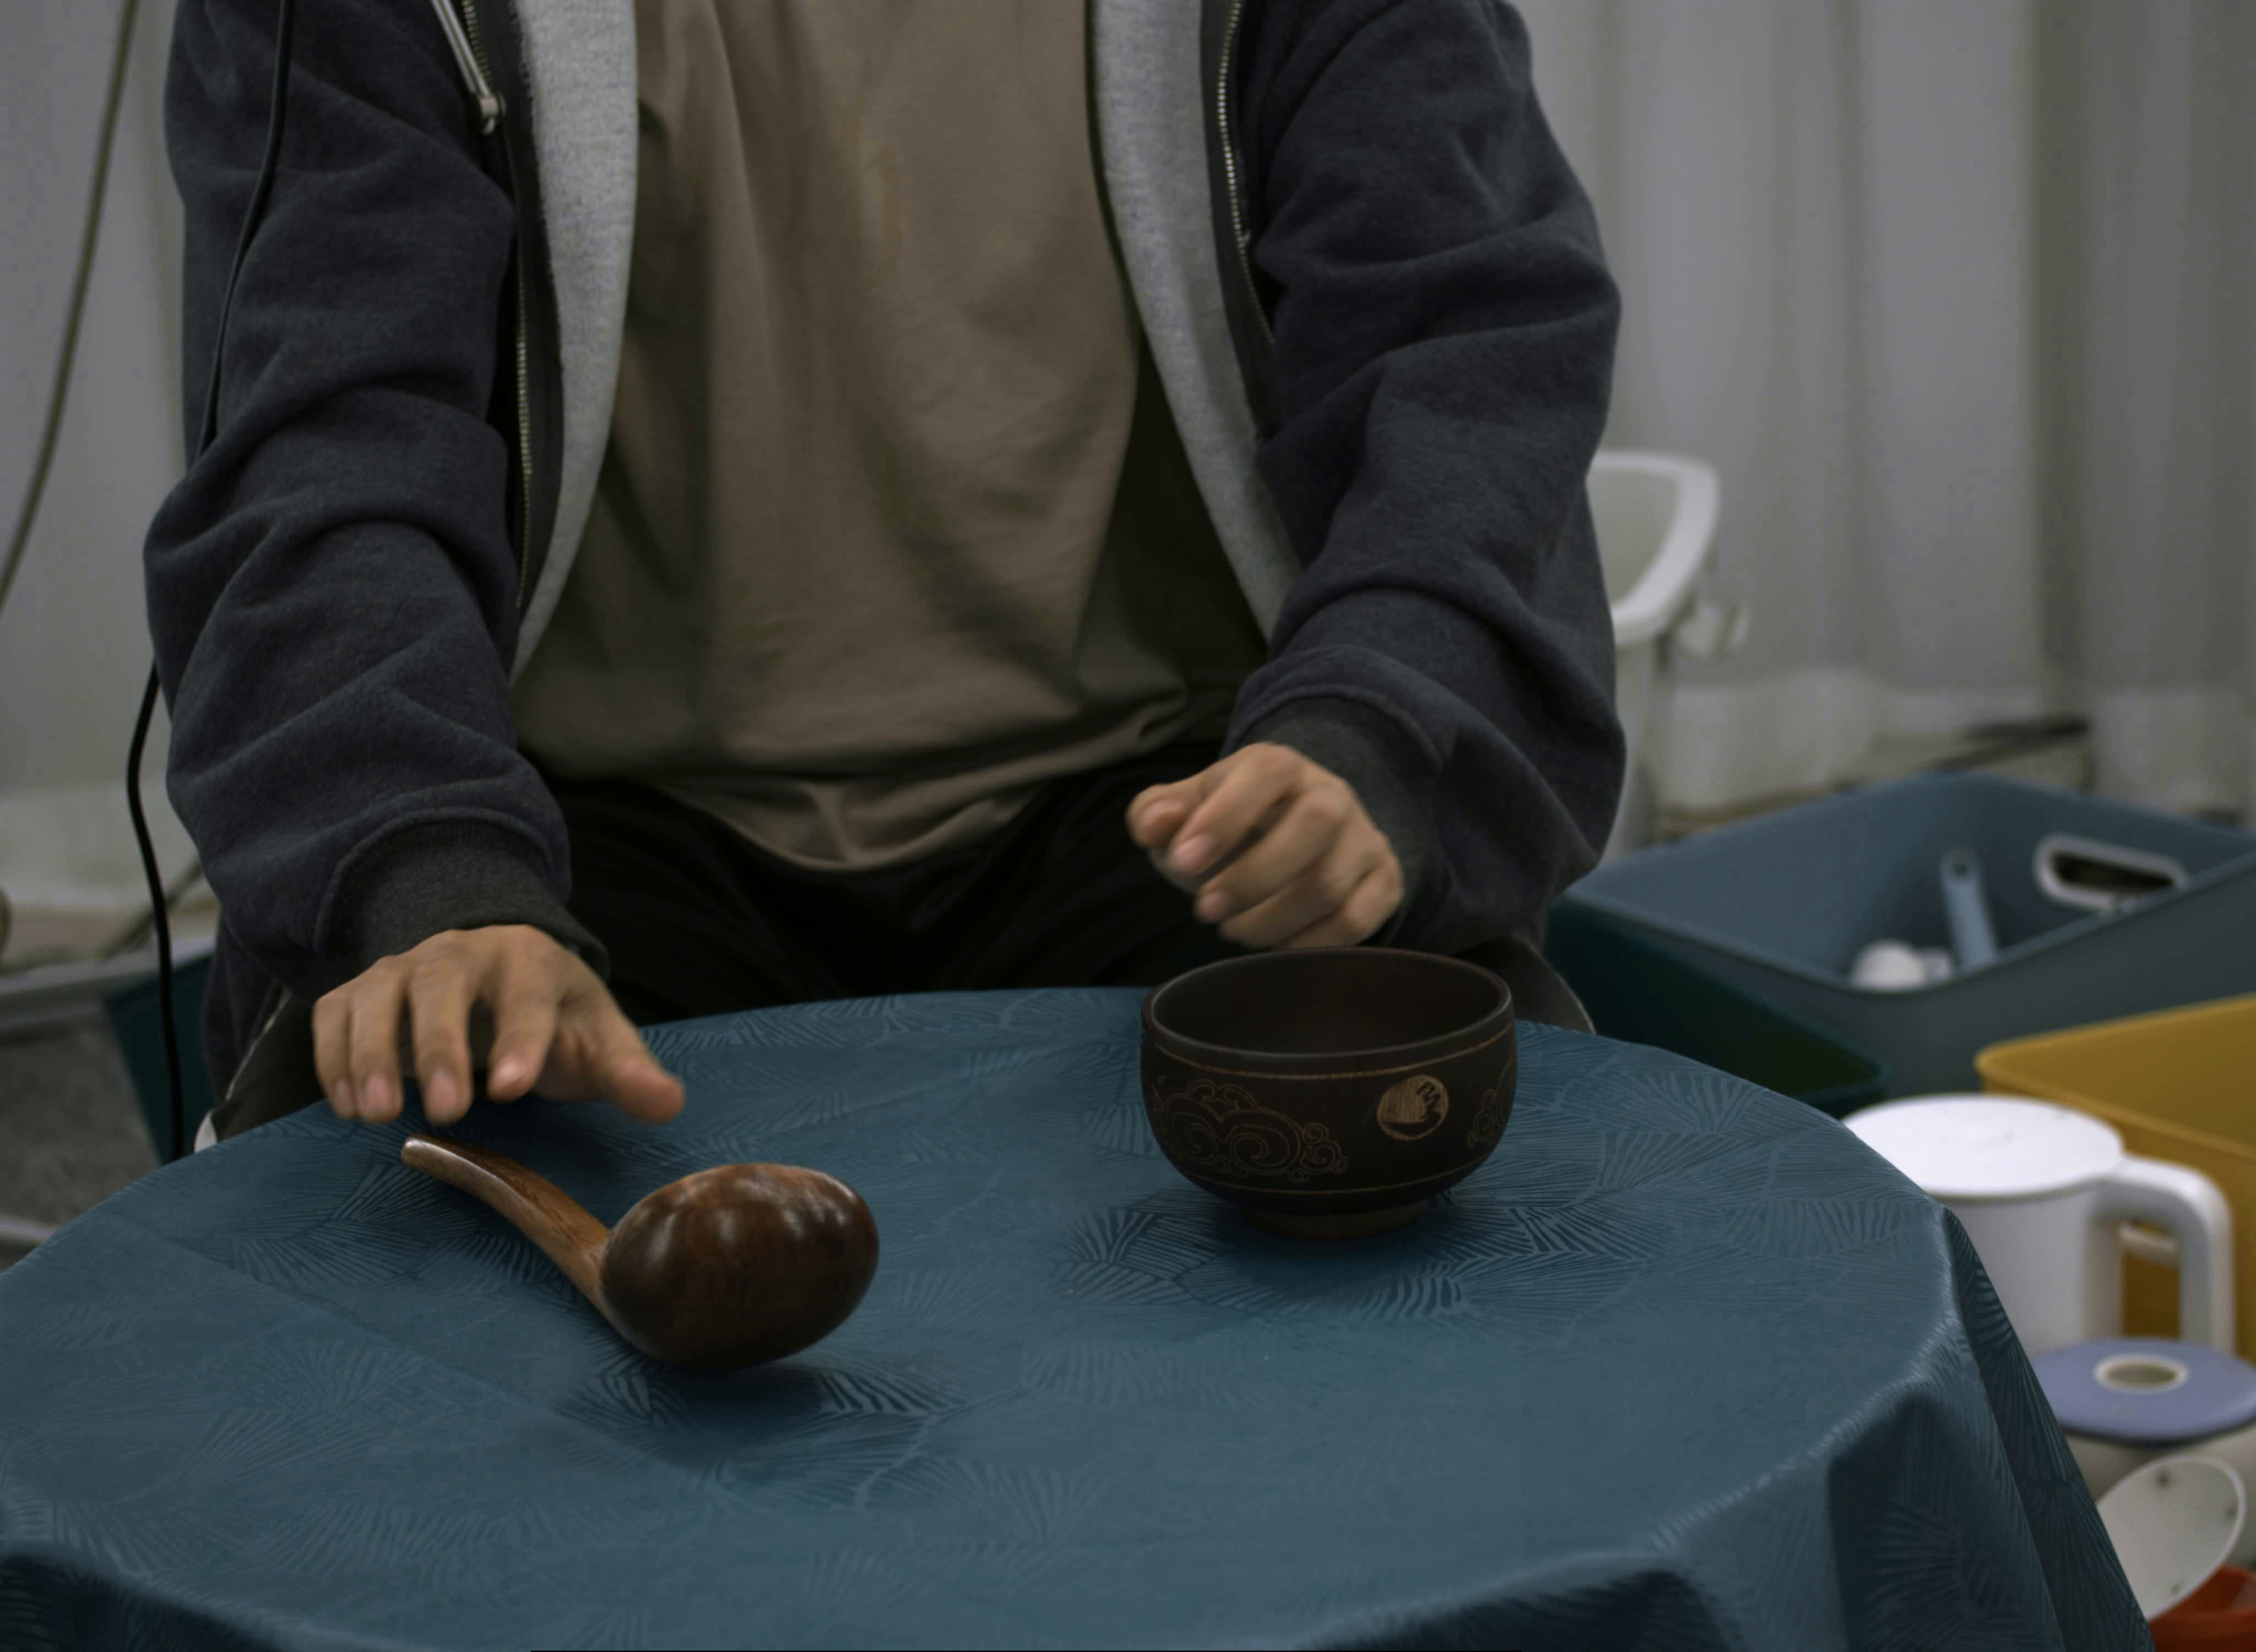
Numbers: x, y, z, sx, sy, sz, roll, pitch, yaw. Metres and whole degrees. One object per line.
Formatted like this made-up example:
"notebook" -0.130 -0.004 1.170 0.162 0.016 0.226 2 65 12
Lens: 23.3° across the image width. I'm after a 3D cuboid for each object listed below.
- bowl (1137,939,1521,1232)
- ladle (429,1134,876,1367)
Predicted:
"bowl" 0.062 0.083 1.678 0.117 0.069 0.119 -3 14 1
"ladle" -0.156 0.102 1.644 0.081 0.076 0.276 15 5 -26
